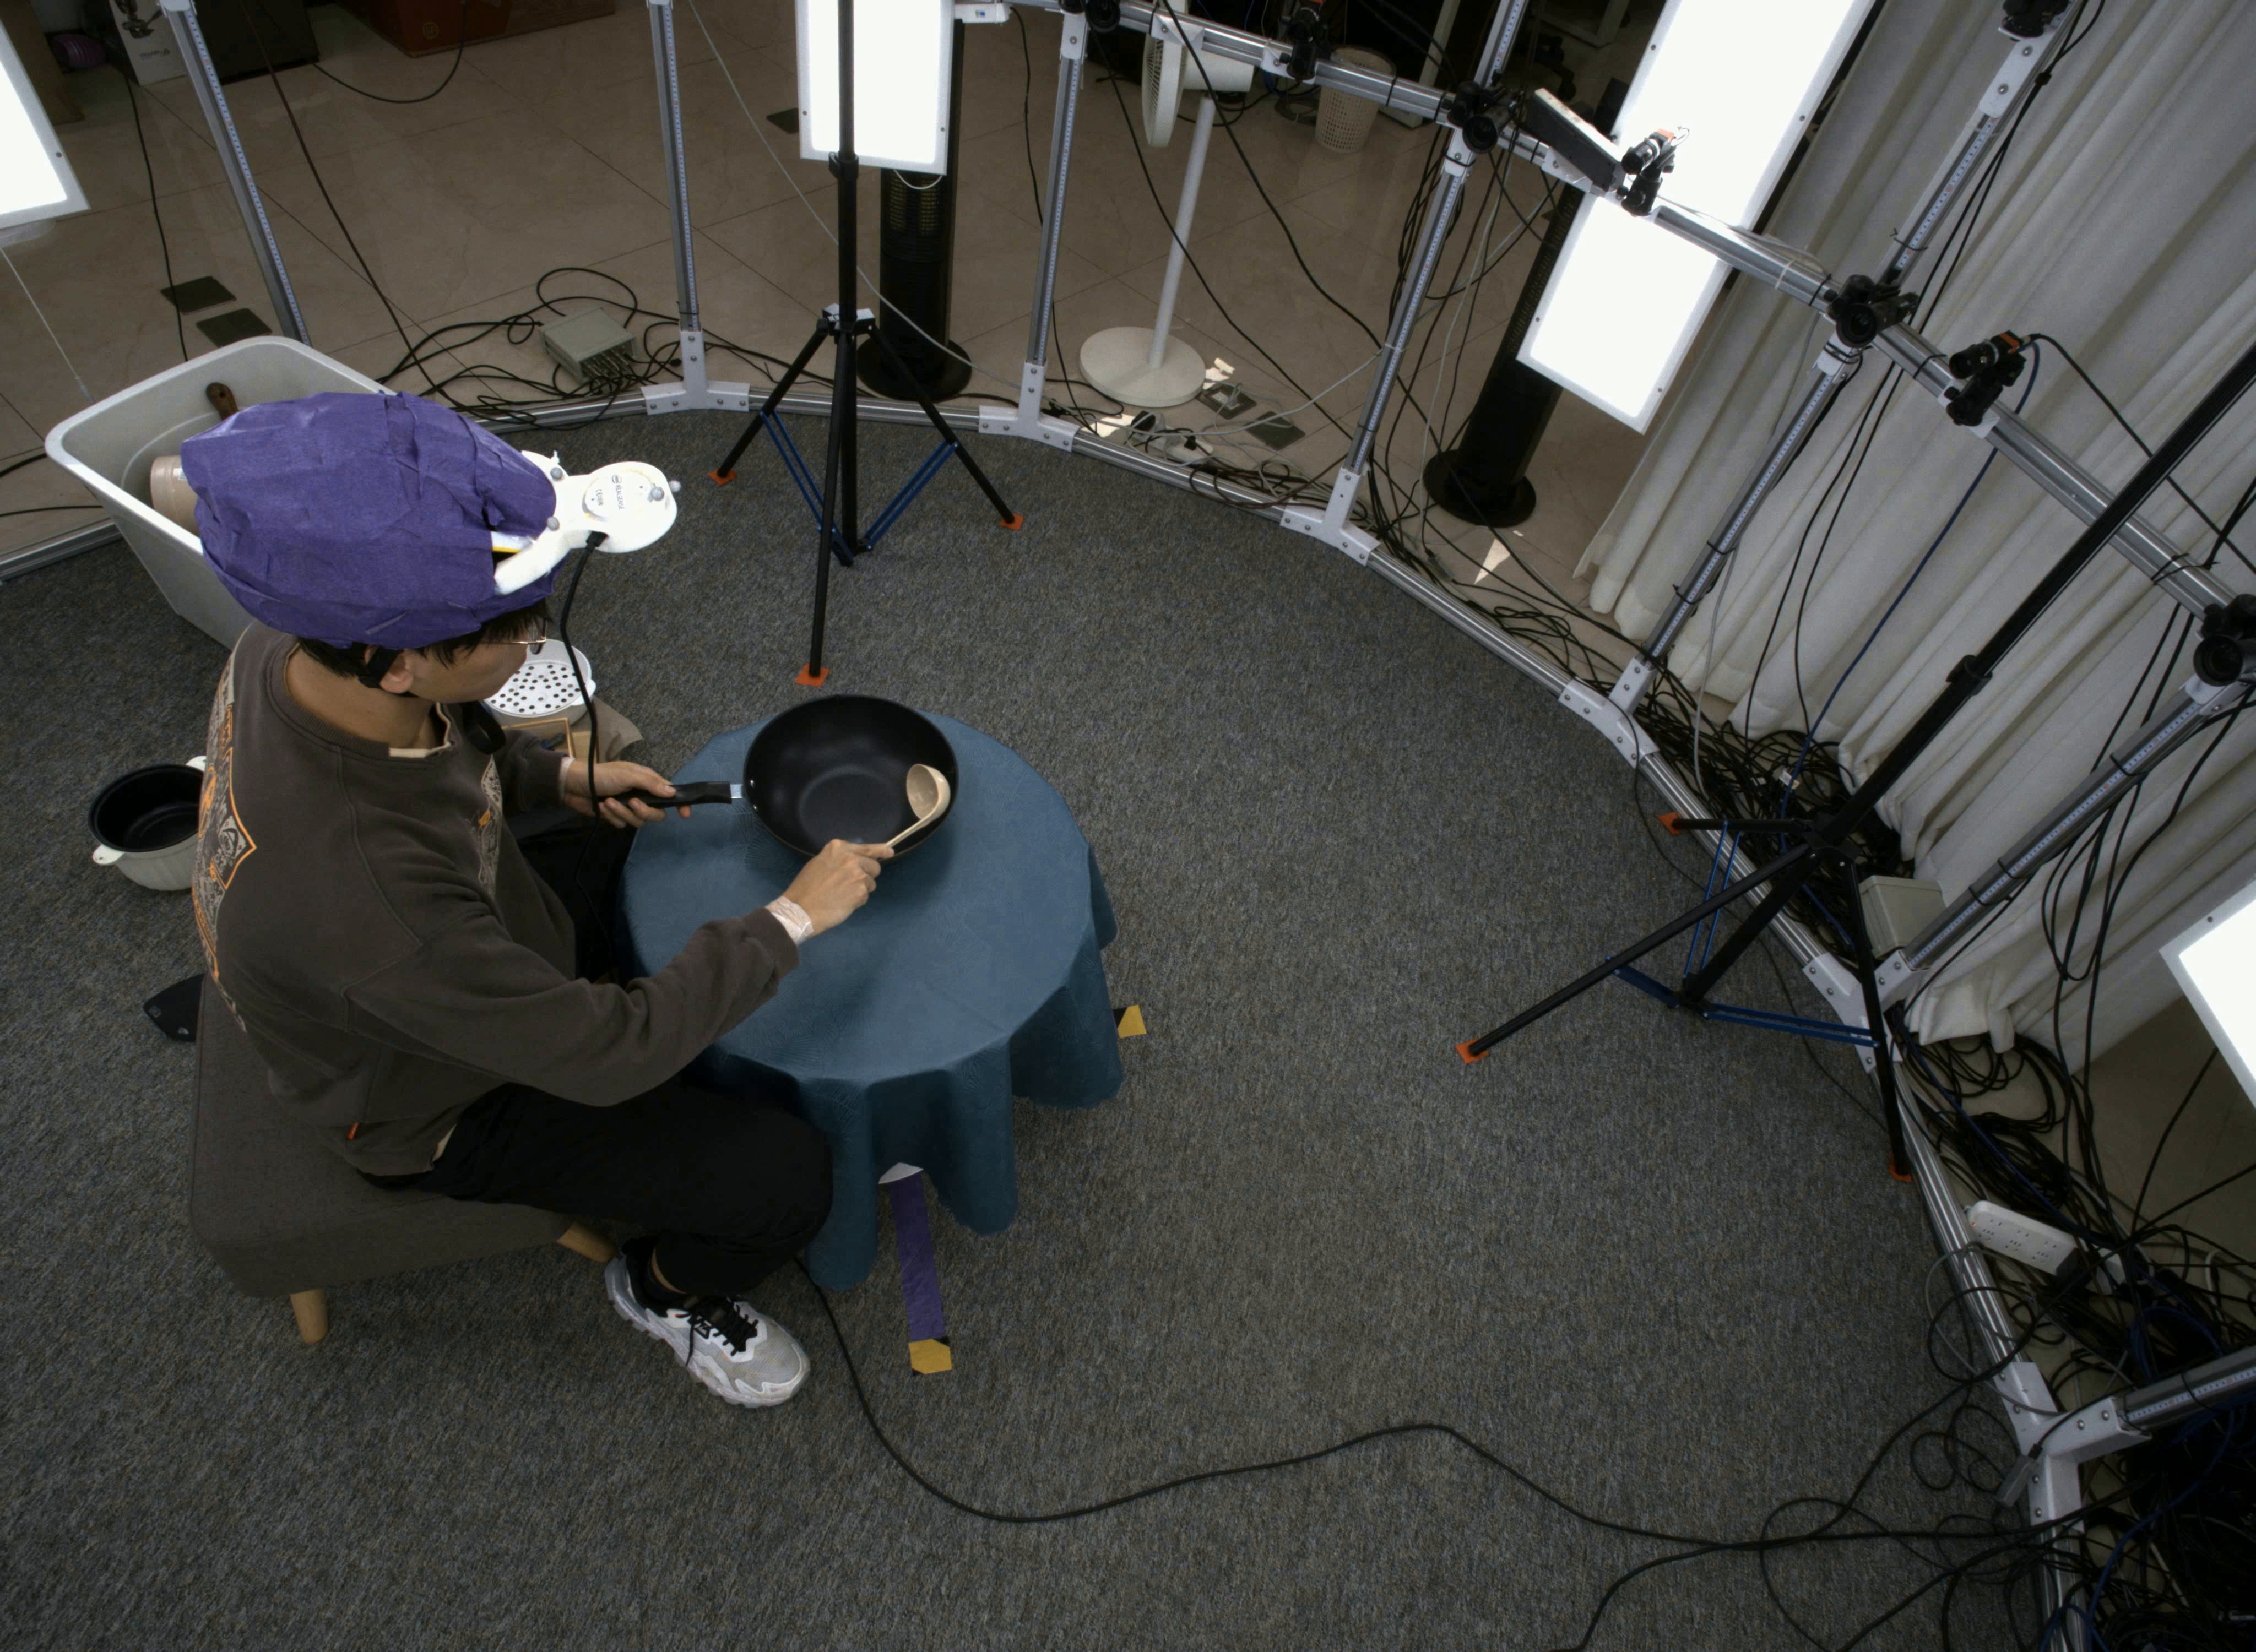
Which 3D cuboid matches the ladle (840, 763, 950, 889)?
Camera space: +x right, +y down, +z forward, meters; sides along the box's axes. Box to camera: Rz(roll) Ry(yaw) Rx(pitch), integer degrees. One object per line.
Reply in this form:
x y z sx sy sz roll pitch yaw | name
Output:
-0.304 -0.005 1.600 0.073 0.072 0.254 45 34 0 | ladle

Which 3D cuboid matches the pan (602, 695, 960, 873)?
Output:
-0.451 -0.032 1.703 0.464 0.088 0.281 -8 57 -17 | pan
